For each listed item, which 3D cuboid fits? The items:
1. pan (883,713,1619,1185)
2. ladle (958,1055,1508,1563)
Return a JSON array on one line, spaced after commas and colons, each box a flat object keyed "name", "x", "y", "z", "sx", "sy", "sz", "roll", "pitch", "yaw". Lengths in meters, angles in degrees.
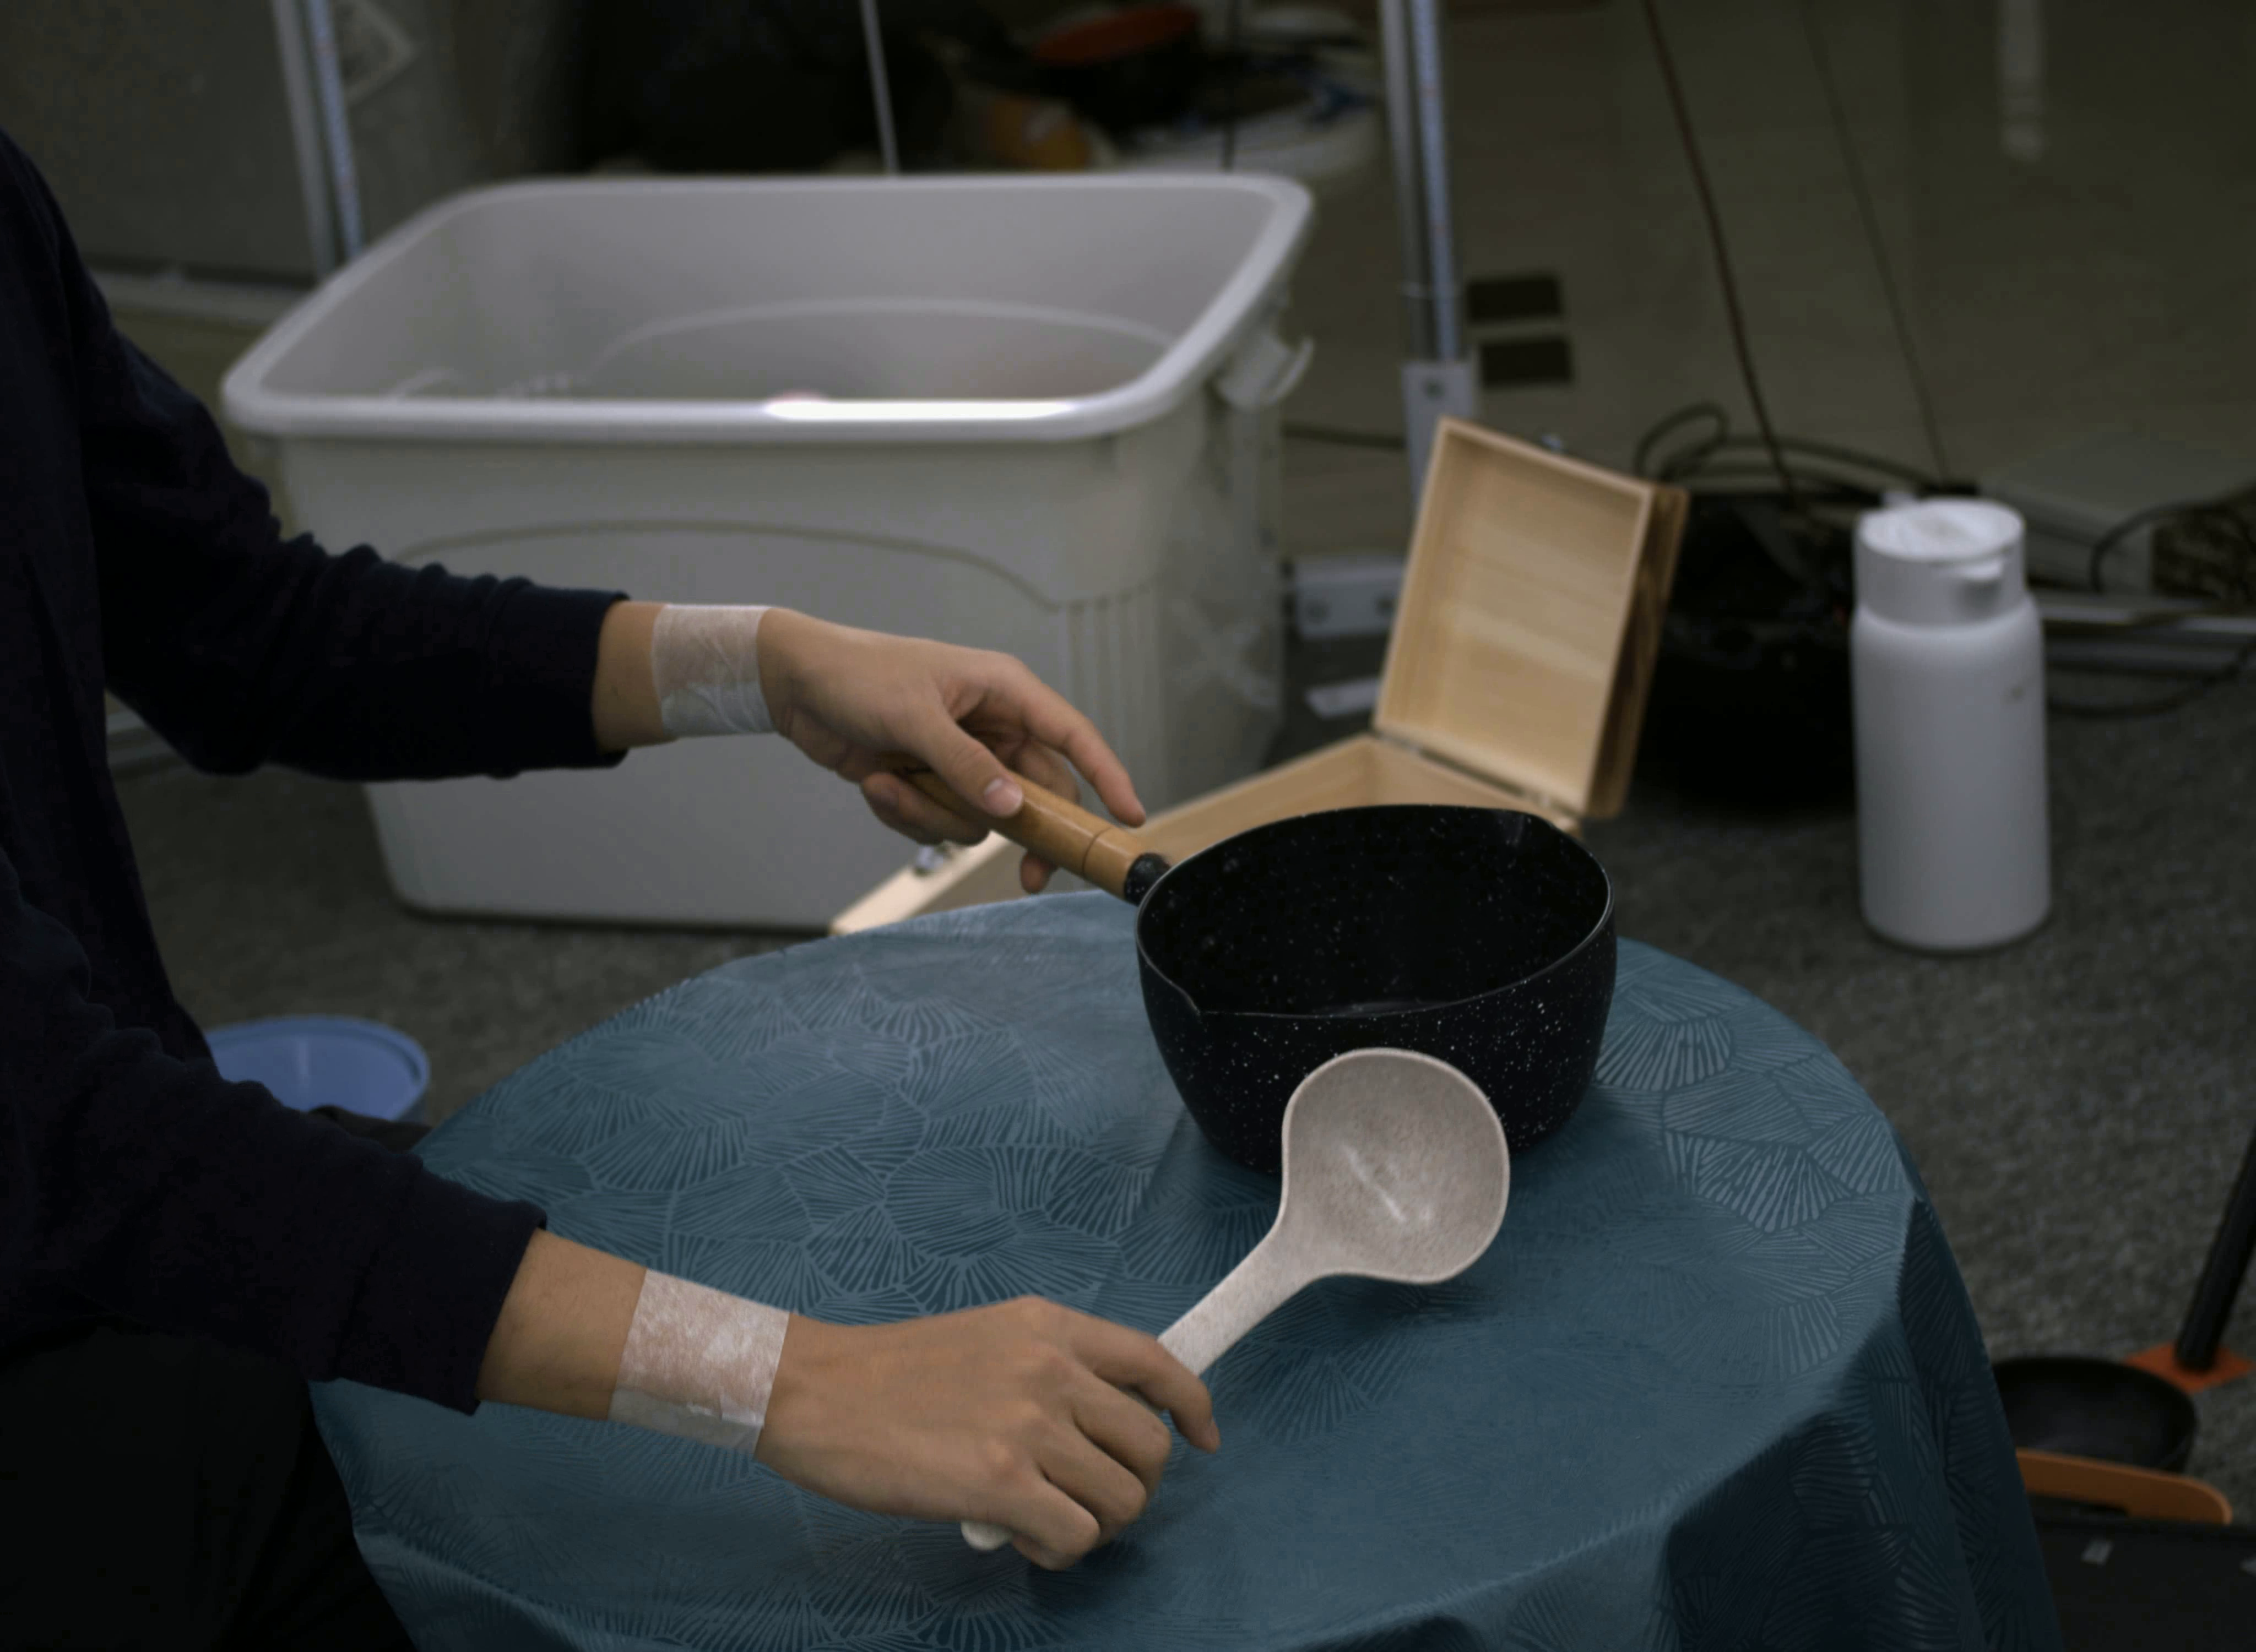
[{"name": "pan", "x": 0.036, "y": 0.041, "z": 2.217, "sx": 0.340, "sy": 0.110, "sz": 0.205, "roll": 16, "pitch": 35, "yaw": 37}, {"name": "ladle", "x": 0.037, "y": 0.170, "z": 1.959, "sx": 0.070, "sy": 0.089, "sz": 0.271, "roll": -32, "pitch": 5, "yaw": 42}]
